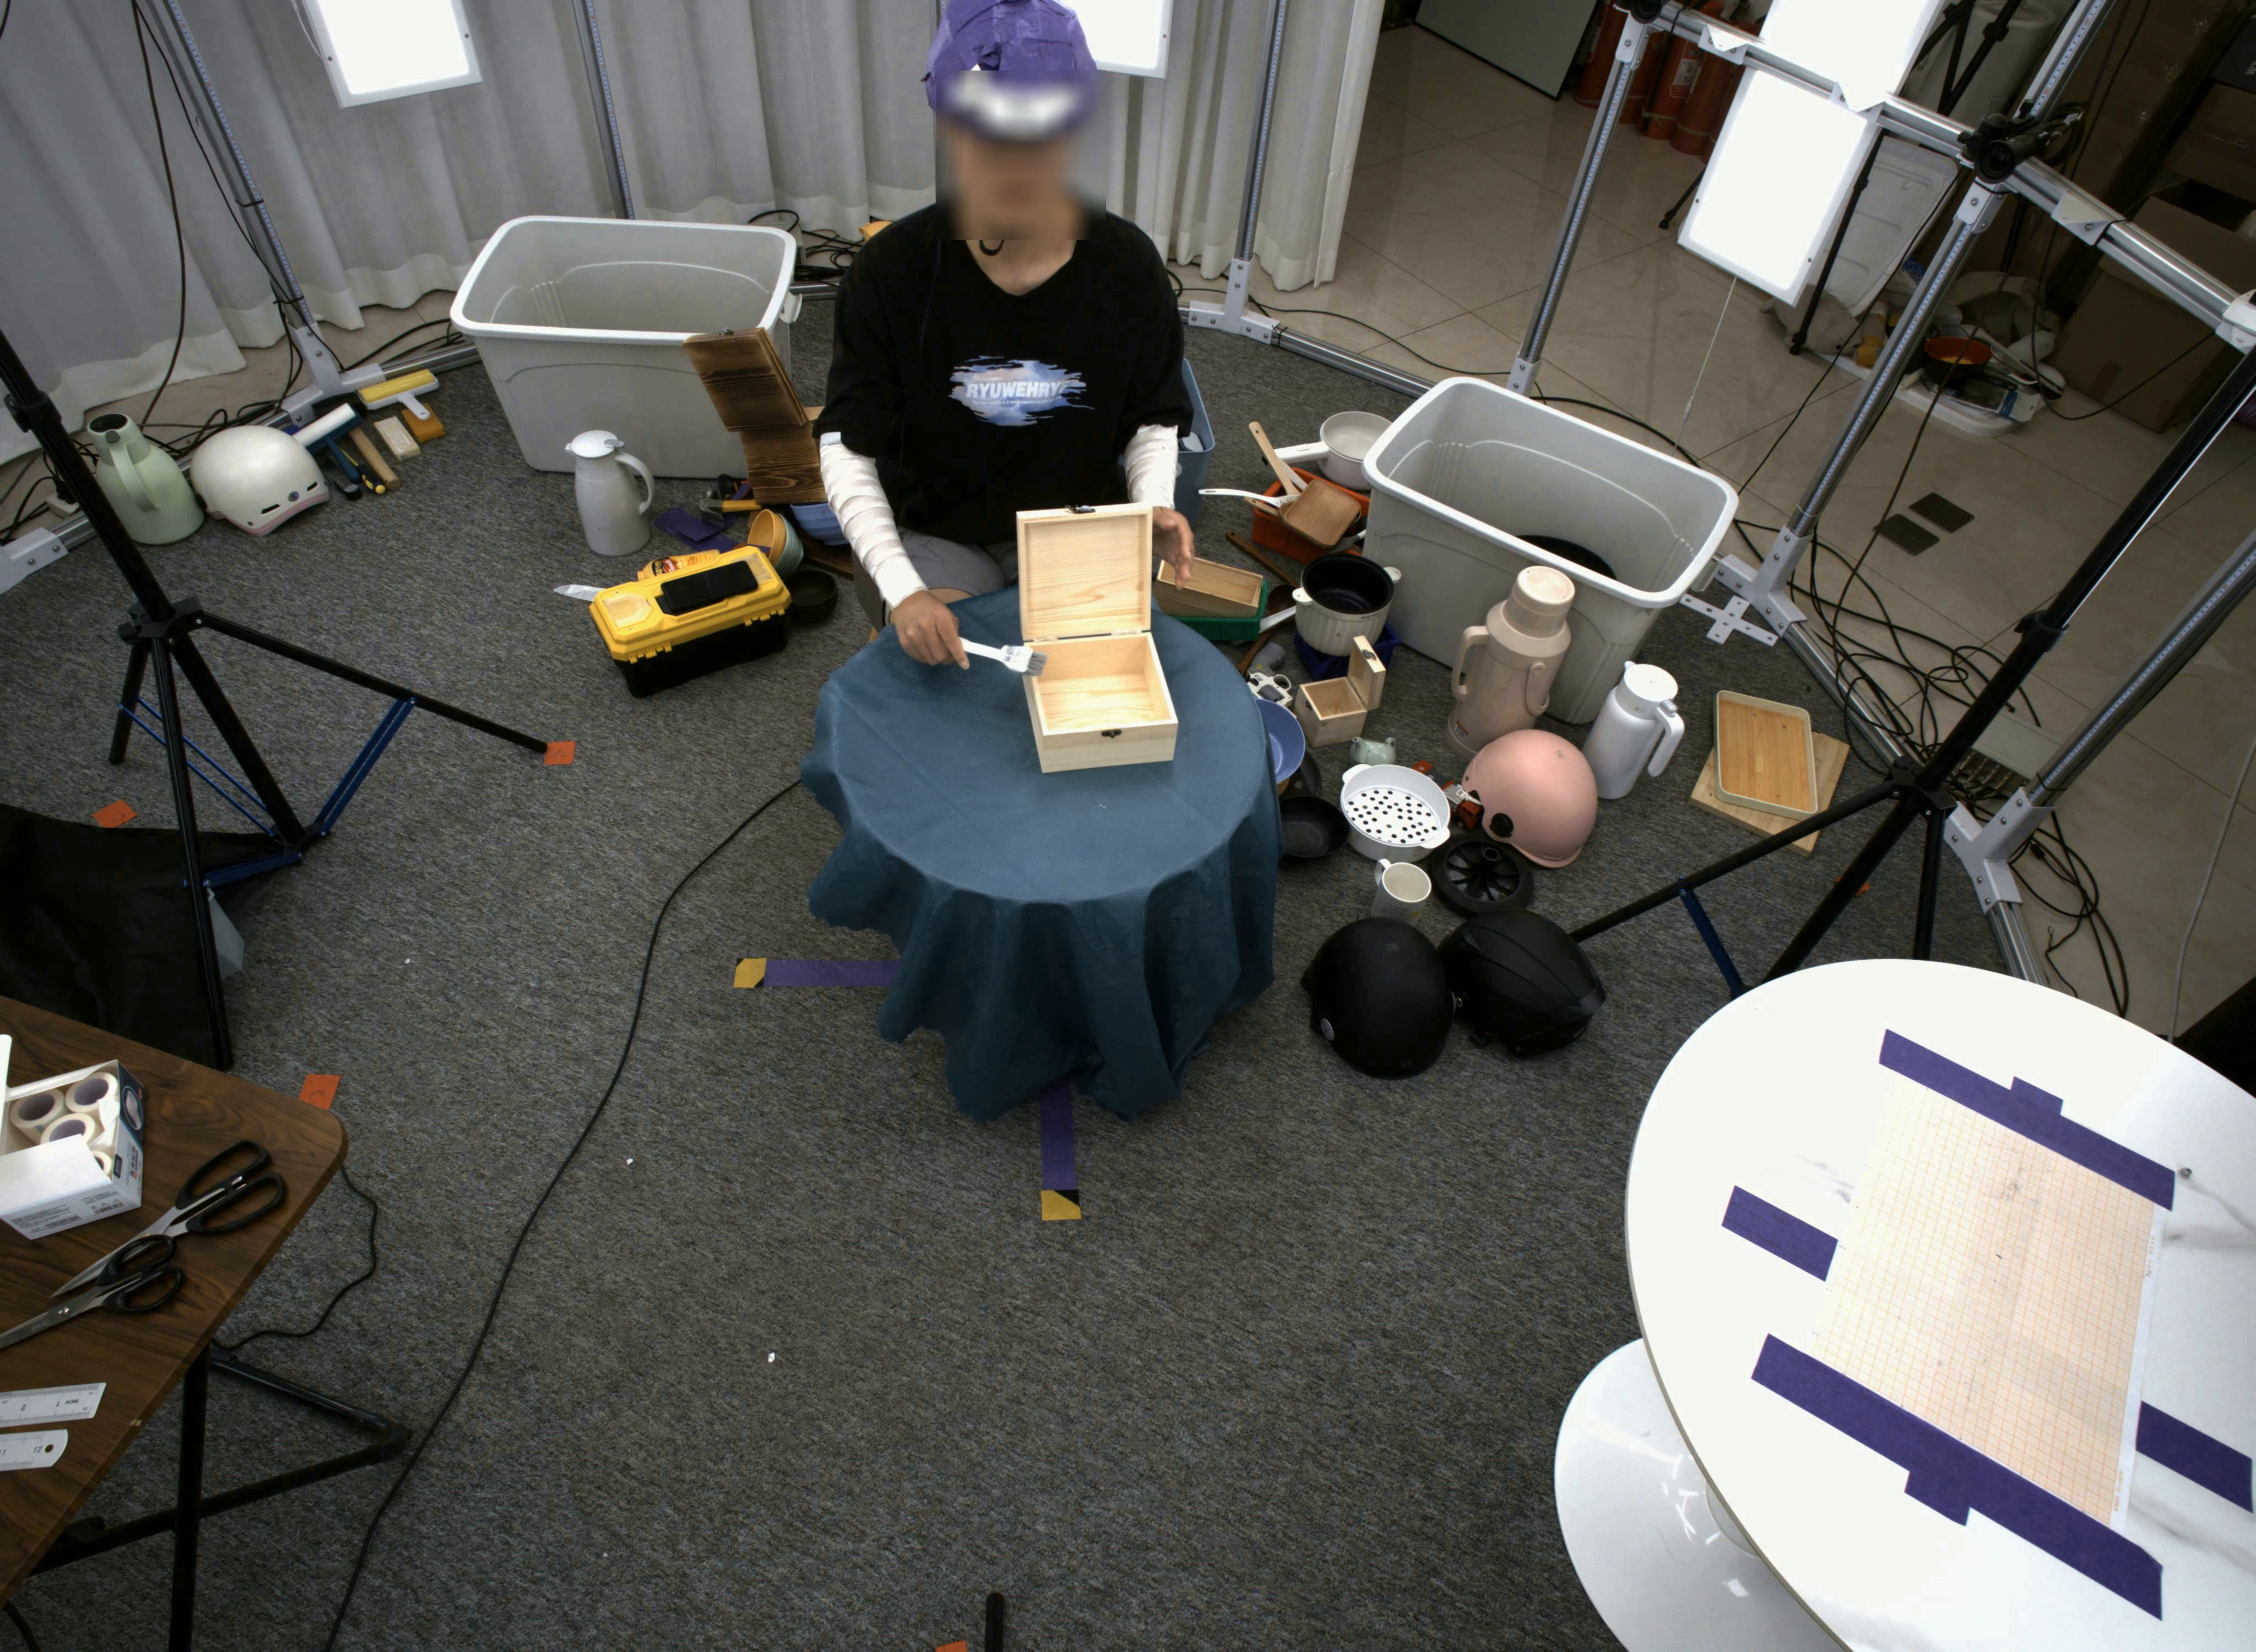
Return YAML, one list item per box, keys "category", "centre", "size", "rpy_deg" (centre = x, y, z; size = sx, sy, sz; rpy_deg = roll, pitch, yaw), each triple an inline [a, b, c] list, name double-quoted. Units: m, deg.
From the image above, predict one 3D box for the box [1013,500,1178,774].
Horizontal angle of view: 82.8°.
- category: "box"
  centre: [-0.043, -0.254, 1.730]
  size: [0.181, 0.247, 0.272]
  rpy_deg: [-8, 50, -8]

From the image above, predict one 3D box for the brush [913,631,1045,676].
- category: "brush"
  centre: [-0.203, -0.237, 1.757]
  size: [0.246, 0.049, 0.034]
  rpy_deg: [16, 89, 43]
